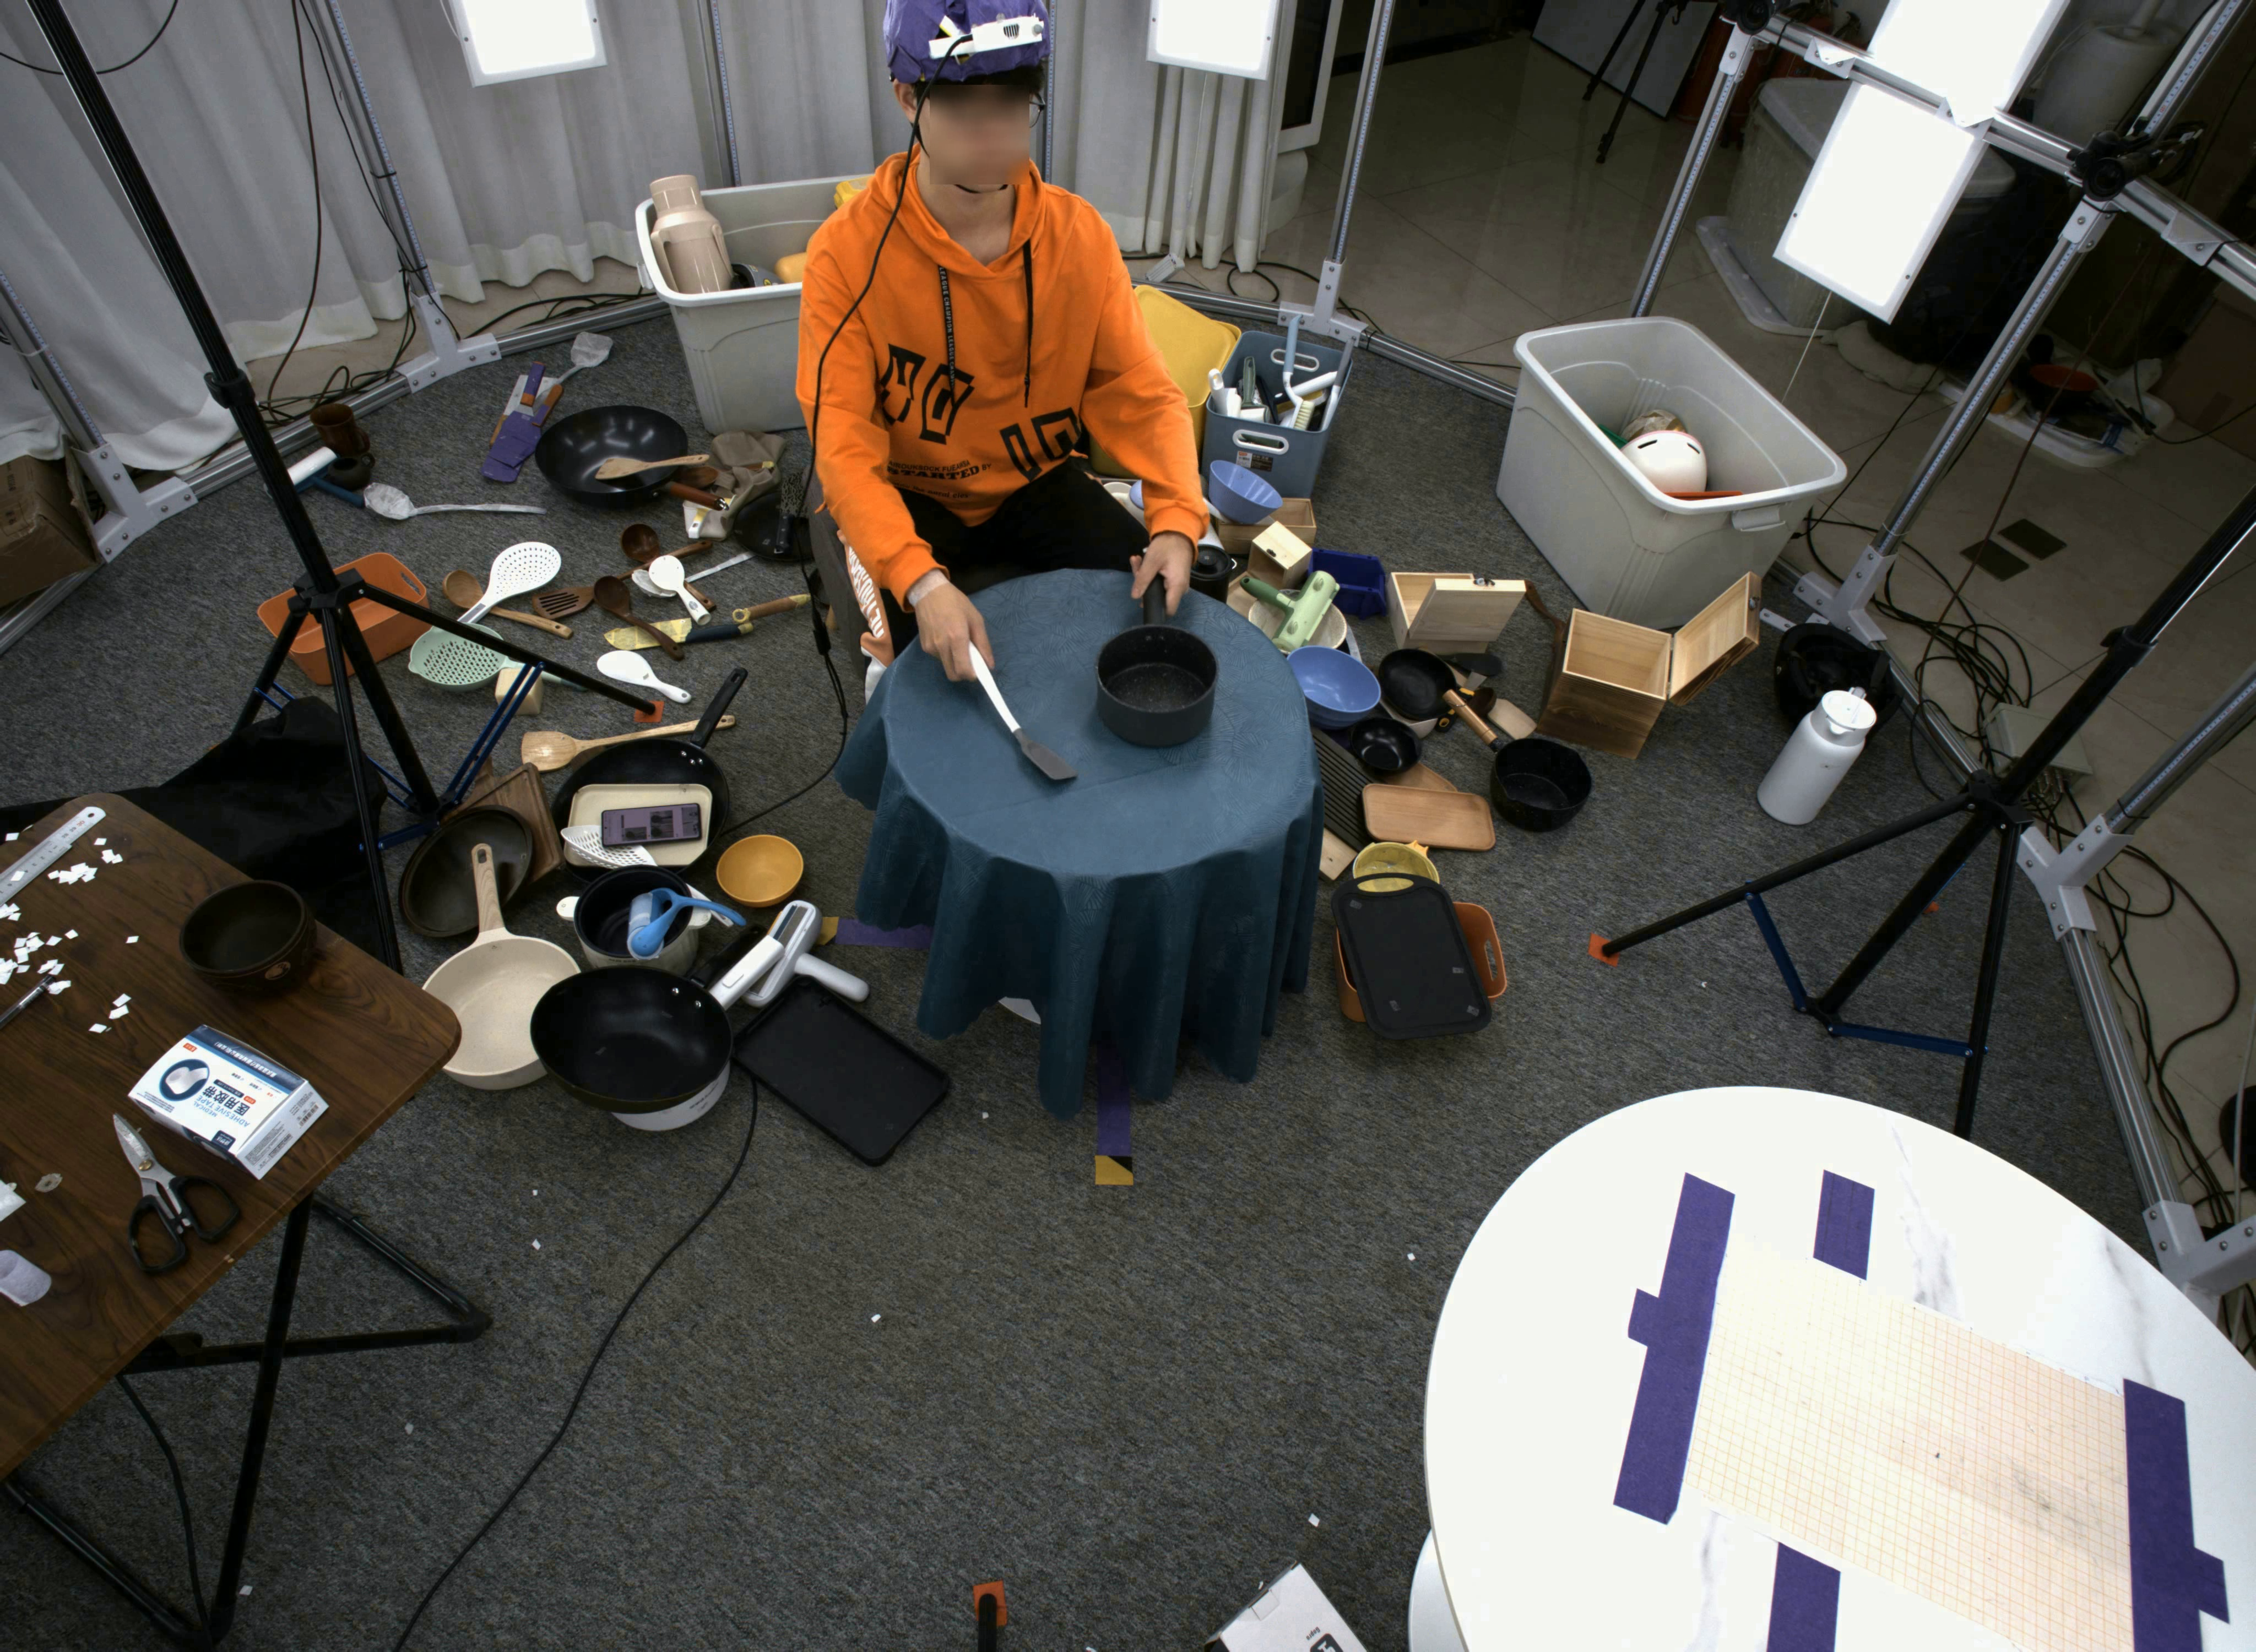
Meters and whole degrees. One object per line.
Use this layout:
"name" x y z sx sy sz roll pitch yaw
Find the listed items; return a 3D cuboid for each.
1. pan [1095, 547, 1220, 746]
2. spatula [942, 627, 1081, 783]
"pan" 0.042 -0.259 1.833 0.172 0.084 0.337 3 52 0
"spatula" -0.164 -0.162 1.756 0.058 0.032 0.292 -9 55 -50
